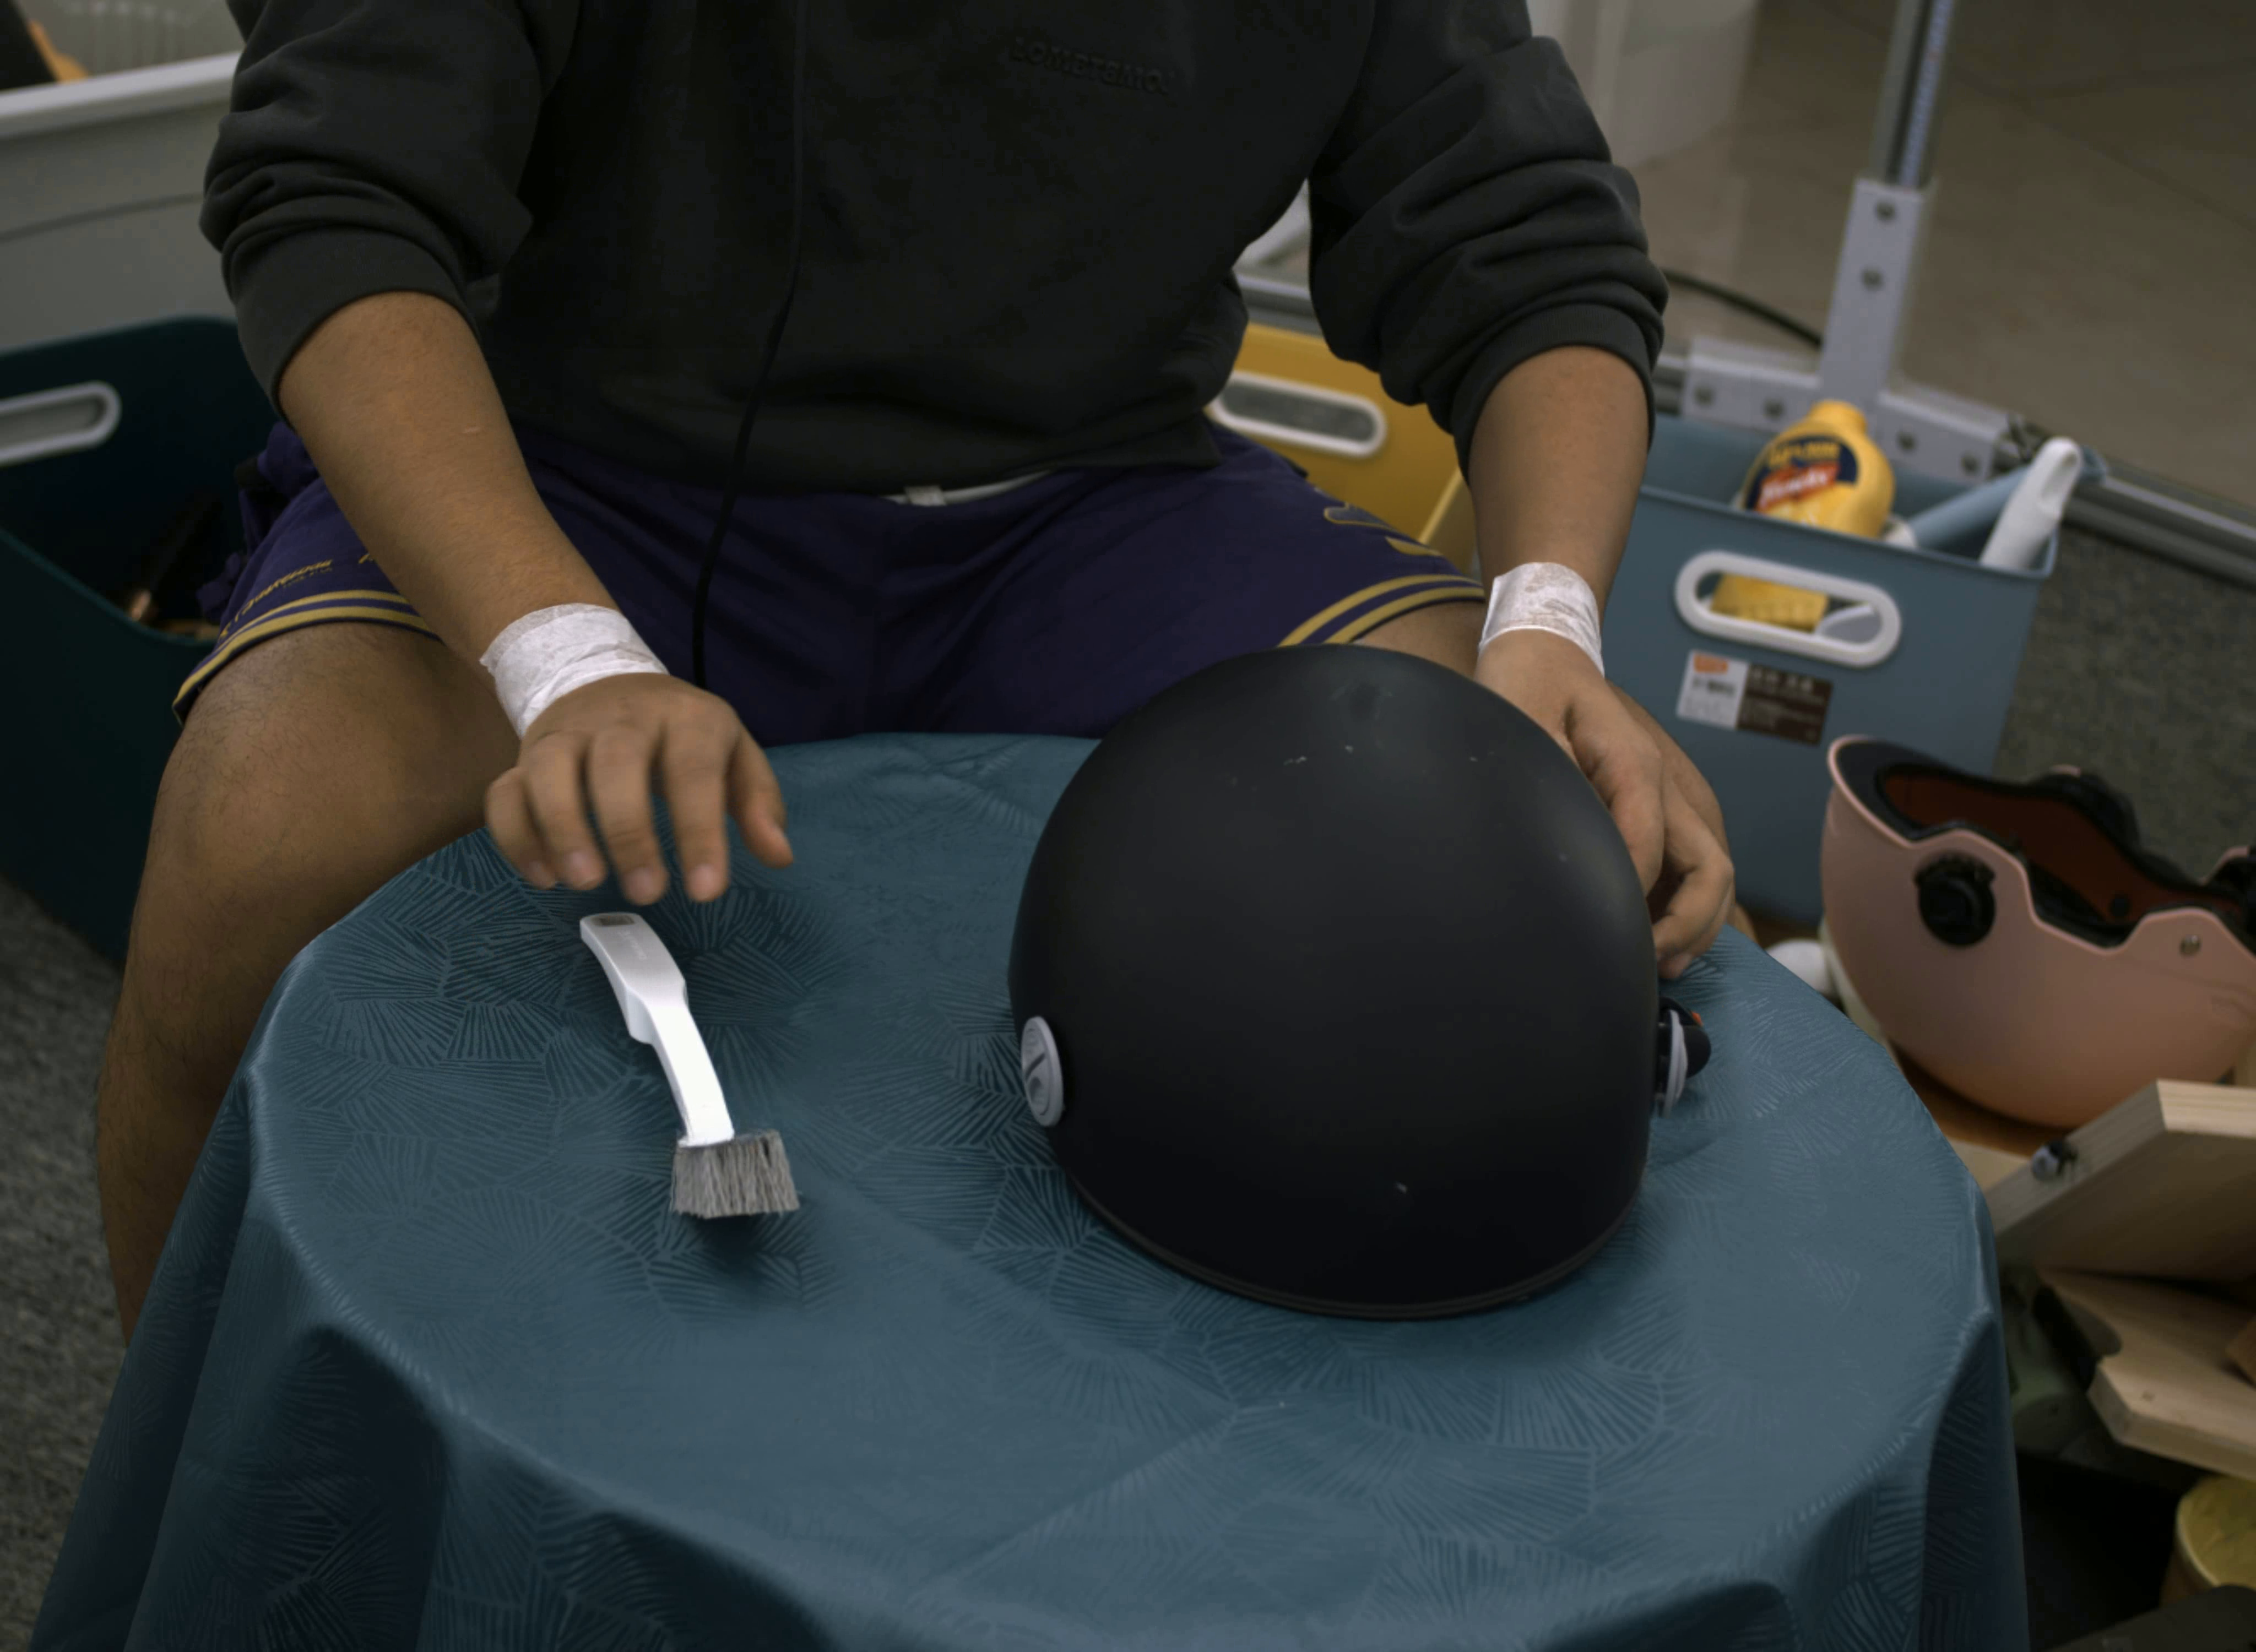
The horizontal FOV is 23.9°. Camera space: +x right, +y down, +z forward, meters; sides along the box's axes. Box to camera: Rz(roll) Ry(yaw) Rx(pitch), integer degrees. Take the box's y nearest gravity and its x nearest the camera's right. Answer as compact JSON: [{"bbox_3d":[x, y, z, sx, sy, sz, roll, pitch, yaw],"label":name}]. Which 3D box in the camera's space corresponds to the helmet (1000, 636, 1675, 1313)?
[{"bbox_3d":[0.072,0.032,1.825,0.229,0.166,0.275,0,29,-7],"label":"helmet"}]

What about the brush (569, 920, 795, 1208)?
[{"bbox_3d":[-0.156,0.084,1.819,0.034,0.050,0.245,-6,16,-16],"label":"brush"}]
